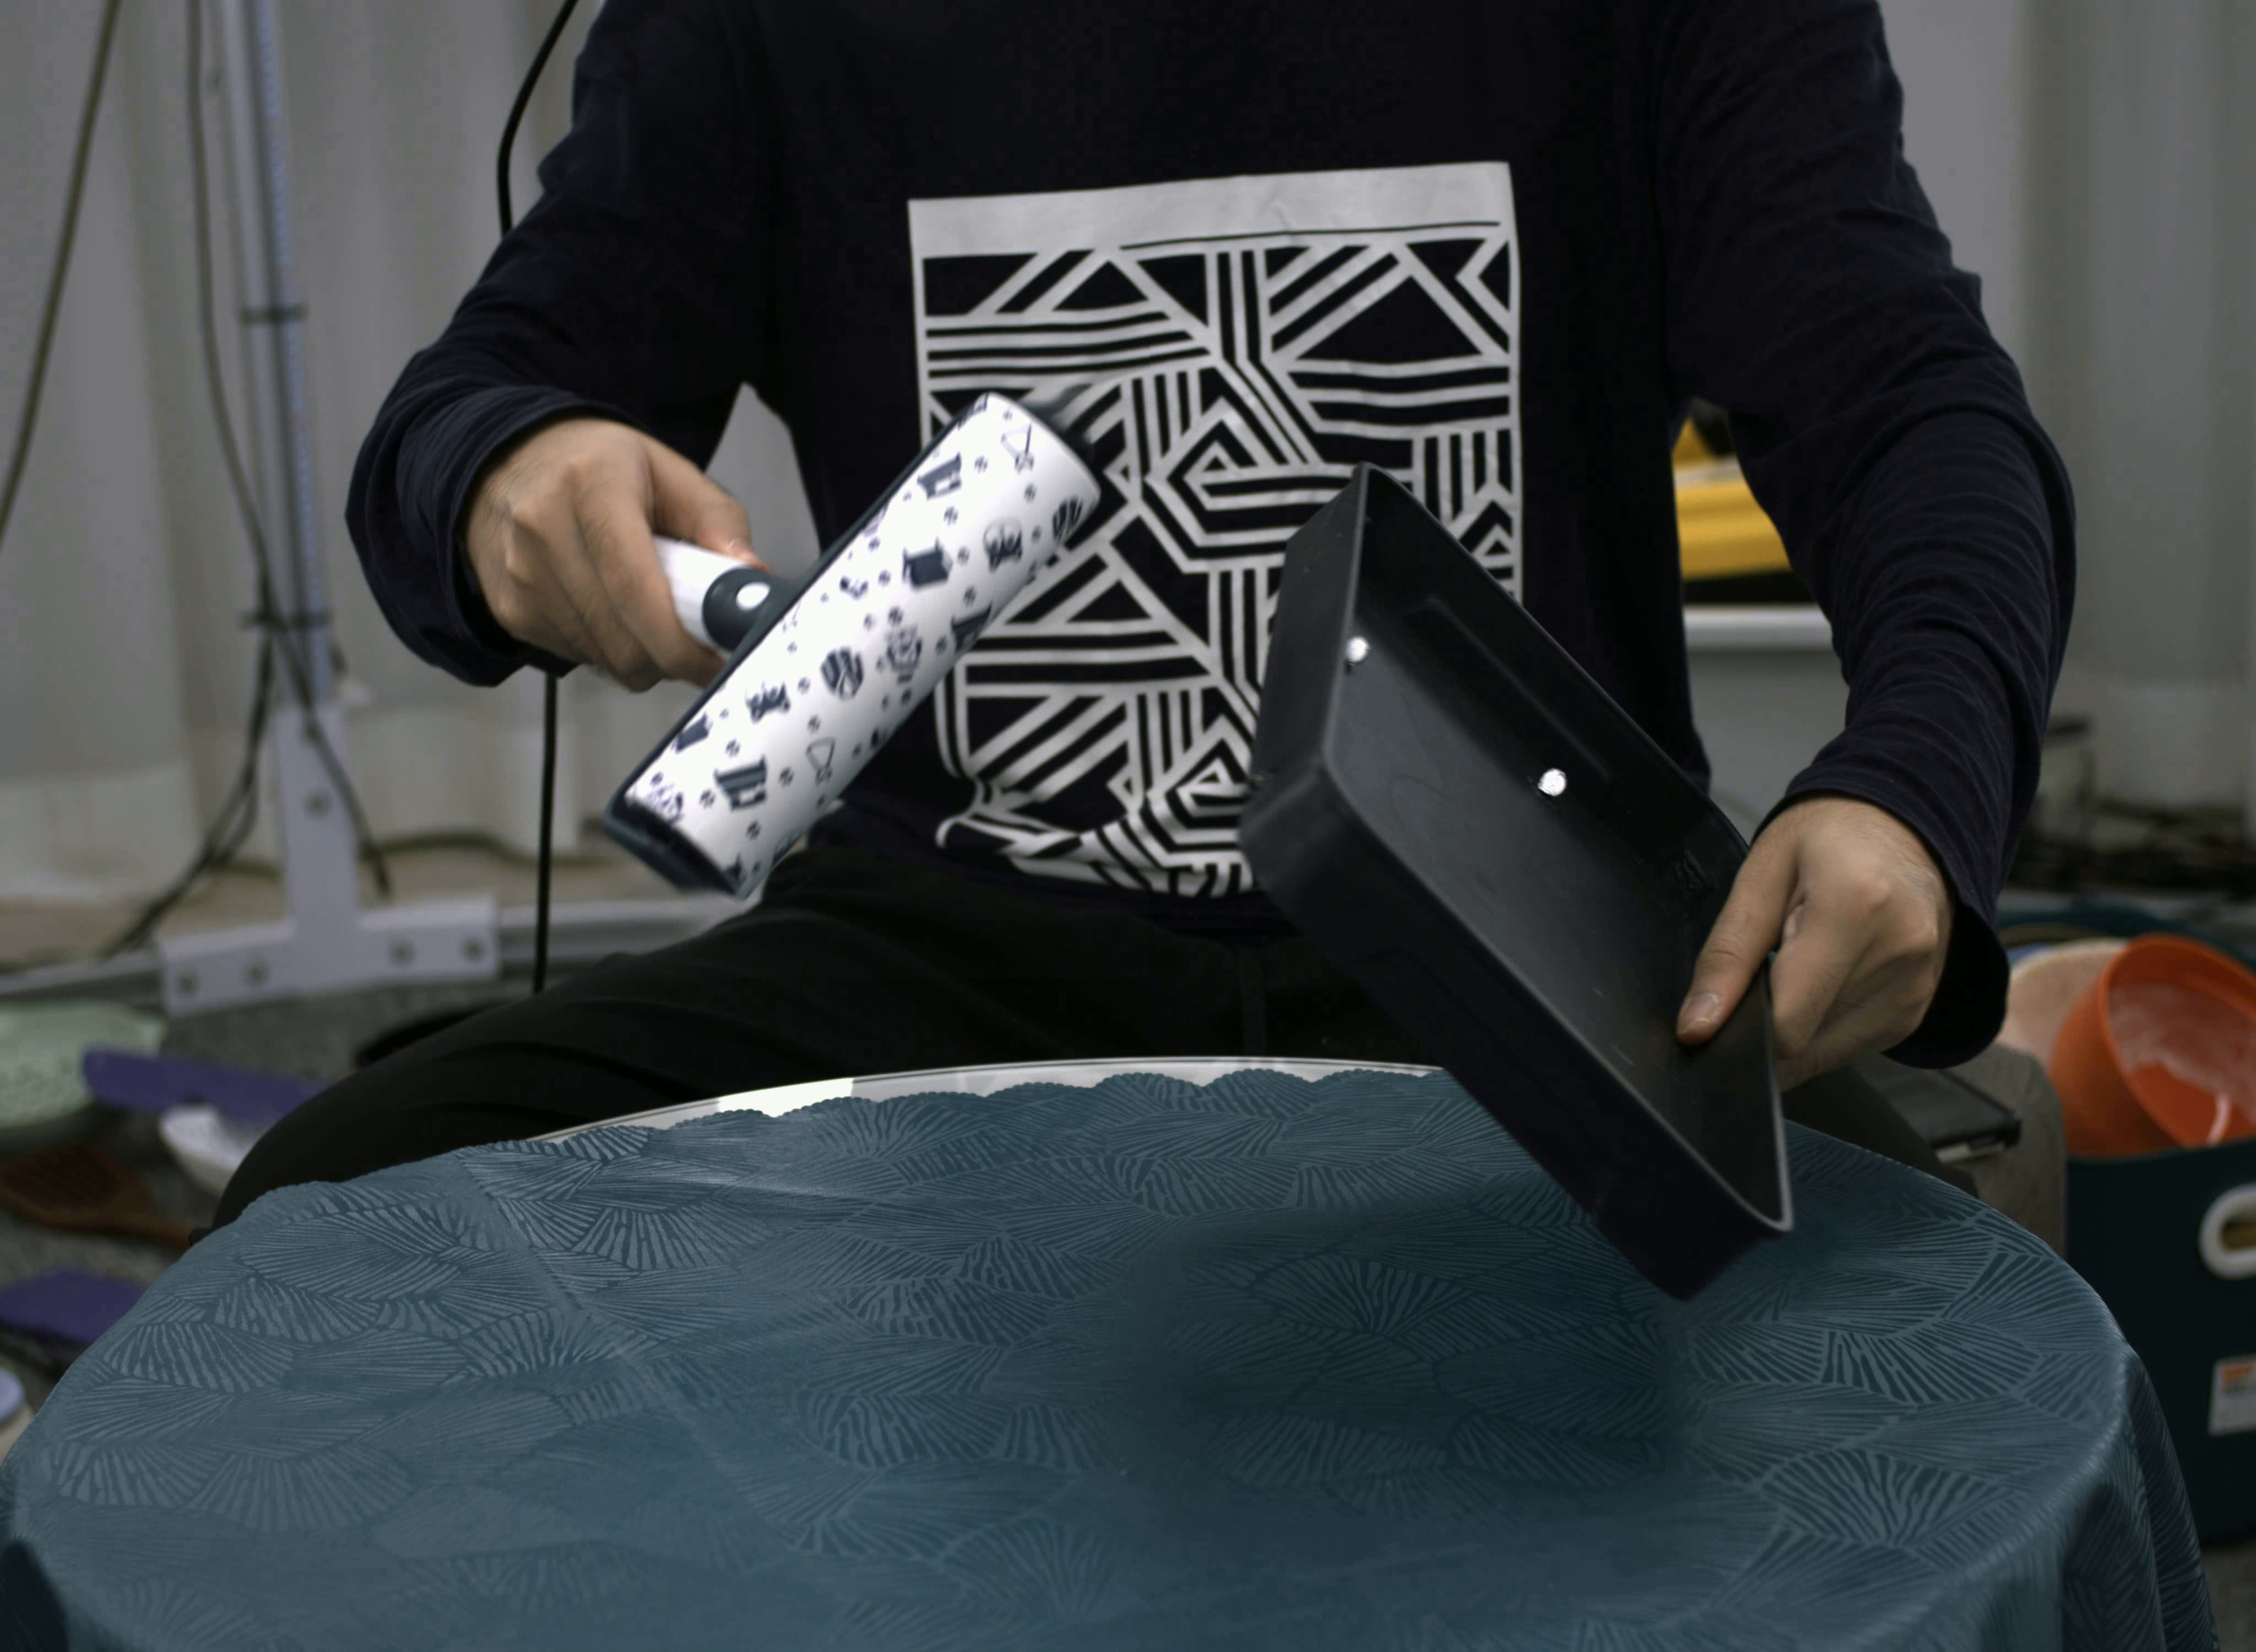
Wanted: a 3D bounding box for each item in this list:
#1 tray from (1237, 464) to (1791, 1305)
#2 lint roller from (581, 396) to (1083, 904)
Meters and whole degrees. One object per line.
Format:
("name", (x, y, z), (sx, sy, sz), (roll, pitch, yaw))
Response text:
("tray", (0.111, 0.009, 1.567), (0.037, 0.183, 0.320), (-42, 11, 16))
("lint roller", (-0.125, -0.065, 1.685), (0.177, 0.050, 0.248), (-50, 26, -12))
